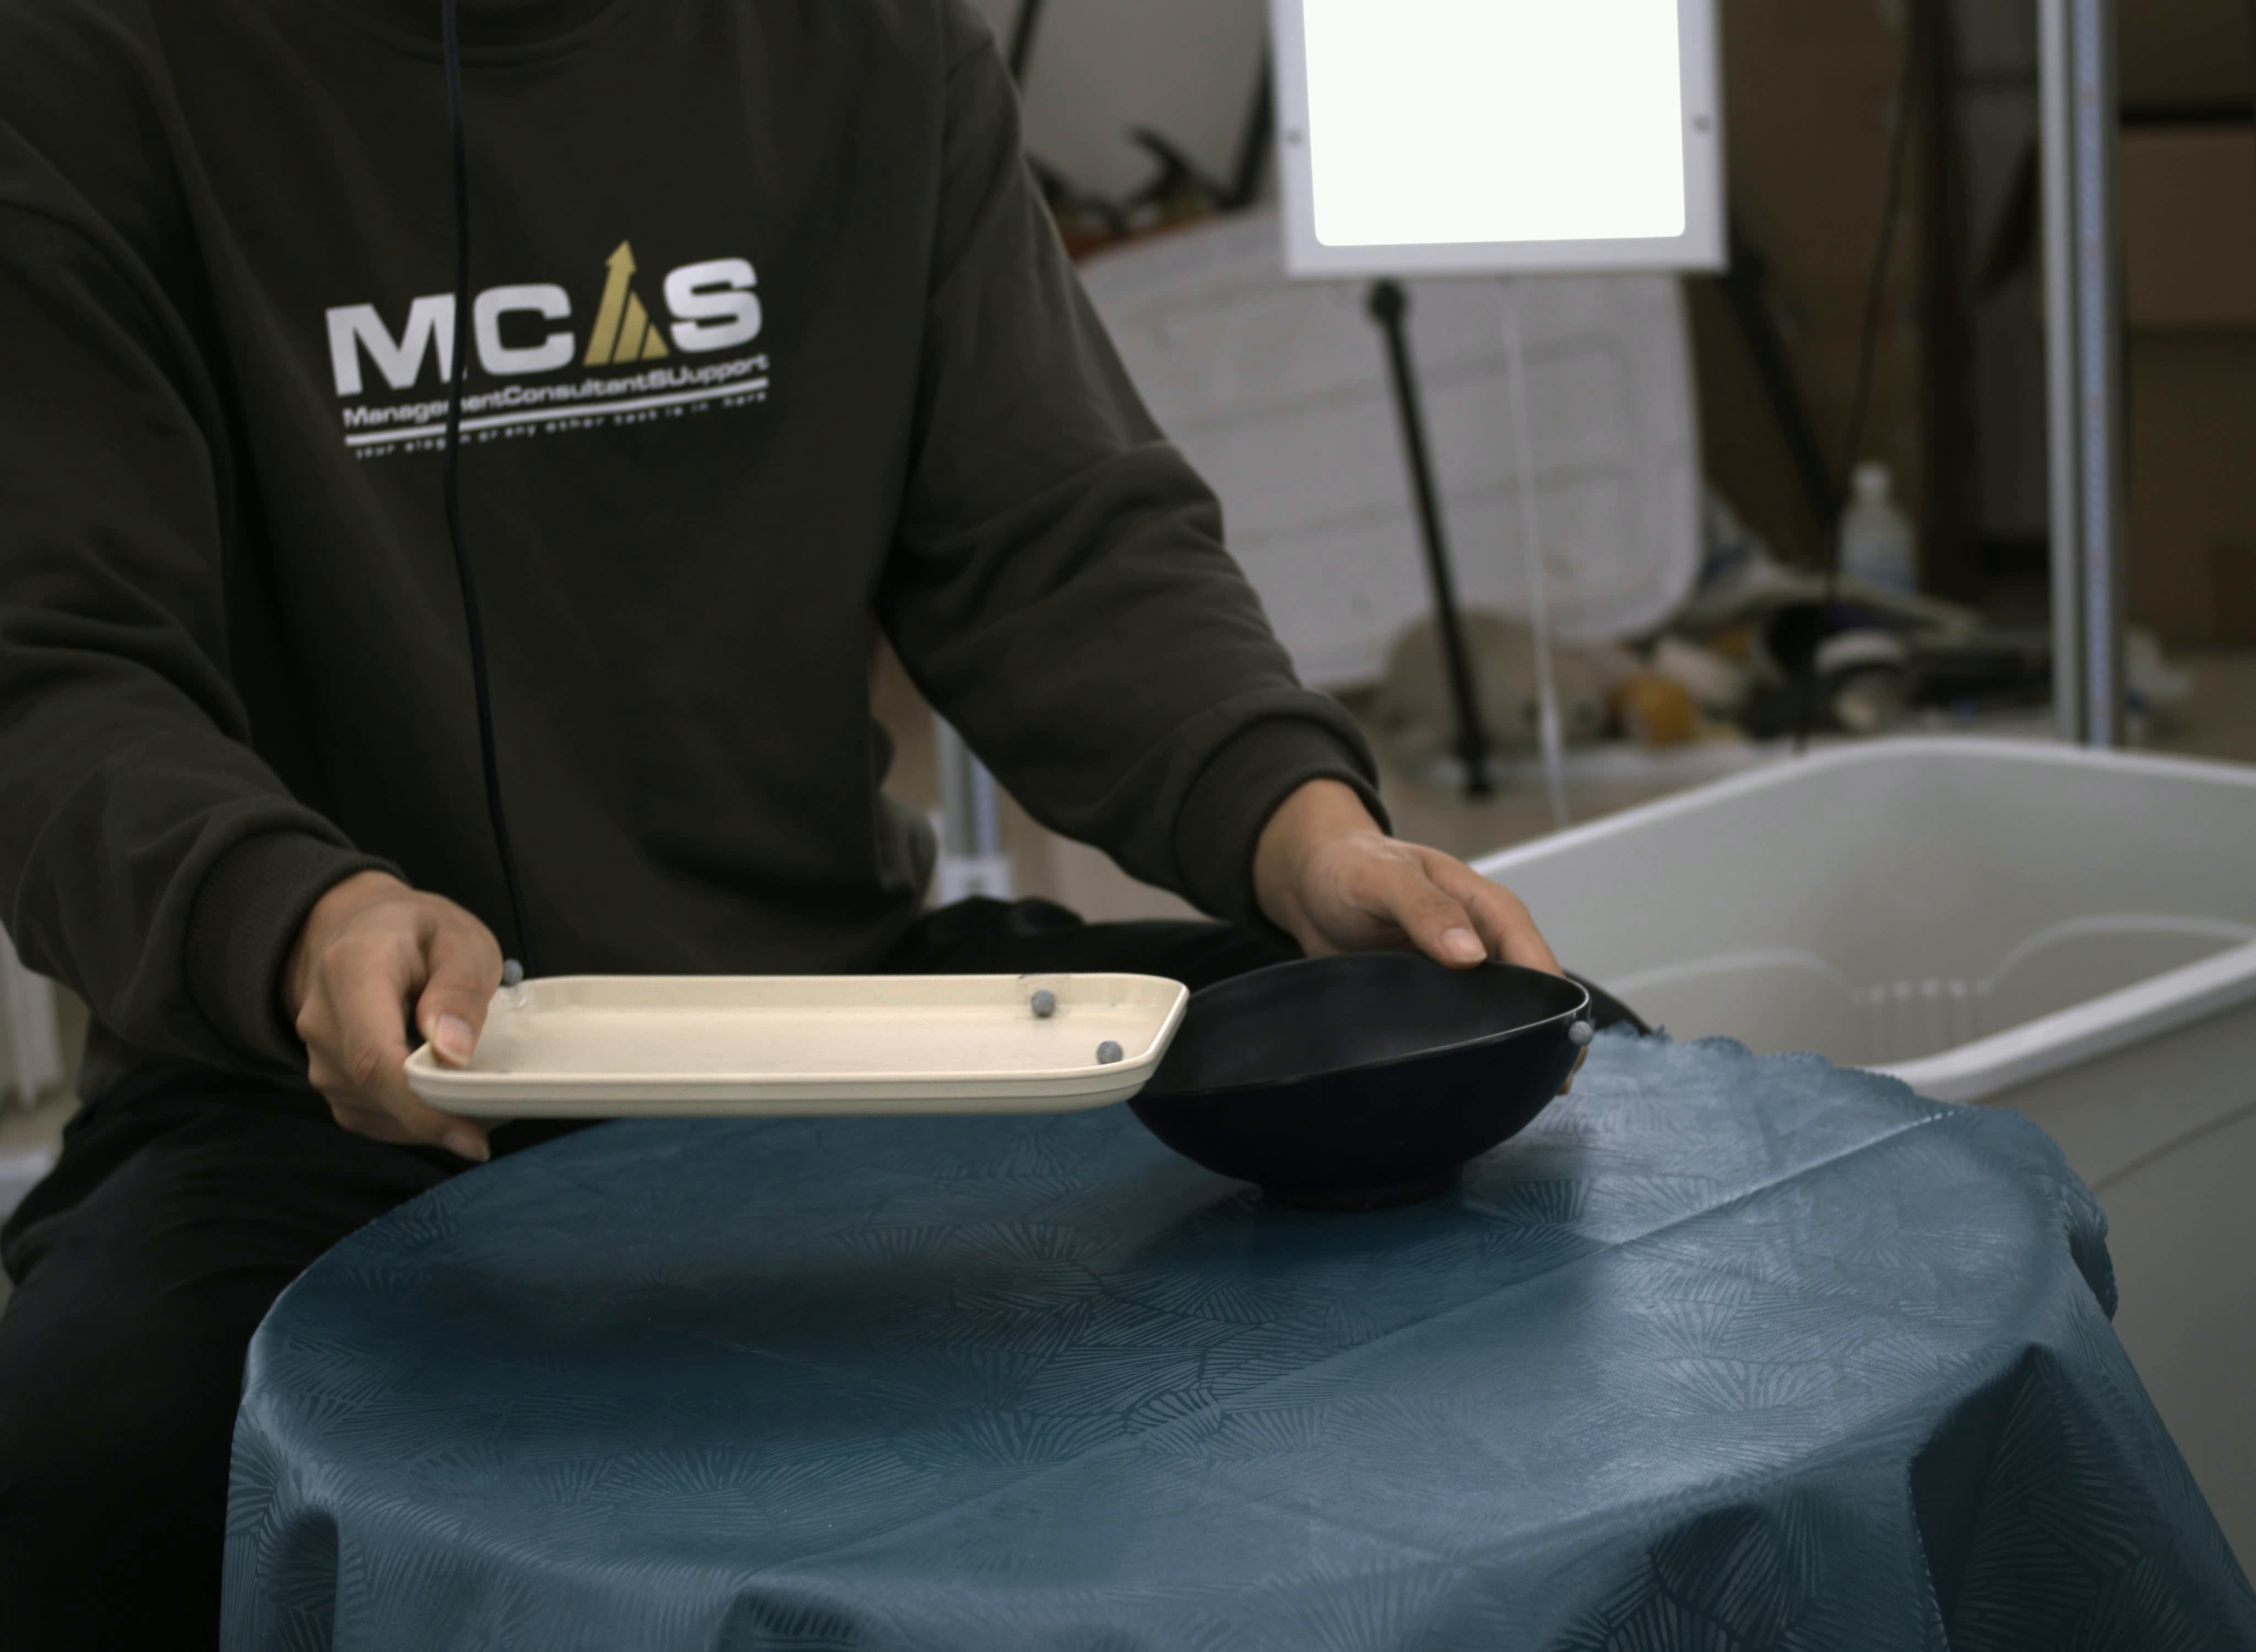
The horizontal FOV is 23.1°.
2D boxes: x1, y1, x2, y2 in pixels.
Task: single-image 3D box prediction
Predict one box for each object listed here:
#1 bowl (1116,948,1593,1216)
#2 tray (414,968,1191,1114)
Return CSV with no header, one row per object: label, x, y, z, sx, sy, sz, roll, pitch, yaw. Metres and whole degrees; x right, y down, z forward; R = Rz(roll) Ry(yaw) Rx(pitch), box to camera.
bowl,0.081,0.093,1.881,0.167,0.067,0.139,-12,14,-20
tray,-0.102,0.070,1.785,0.240,0.017,0.170,0,9,8
